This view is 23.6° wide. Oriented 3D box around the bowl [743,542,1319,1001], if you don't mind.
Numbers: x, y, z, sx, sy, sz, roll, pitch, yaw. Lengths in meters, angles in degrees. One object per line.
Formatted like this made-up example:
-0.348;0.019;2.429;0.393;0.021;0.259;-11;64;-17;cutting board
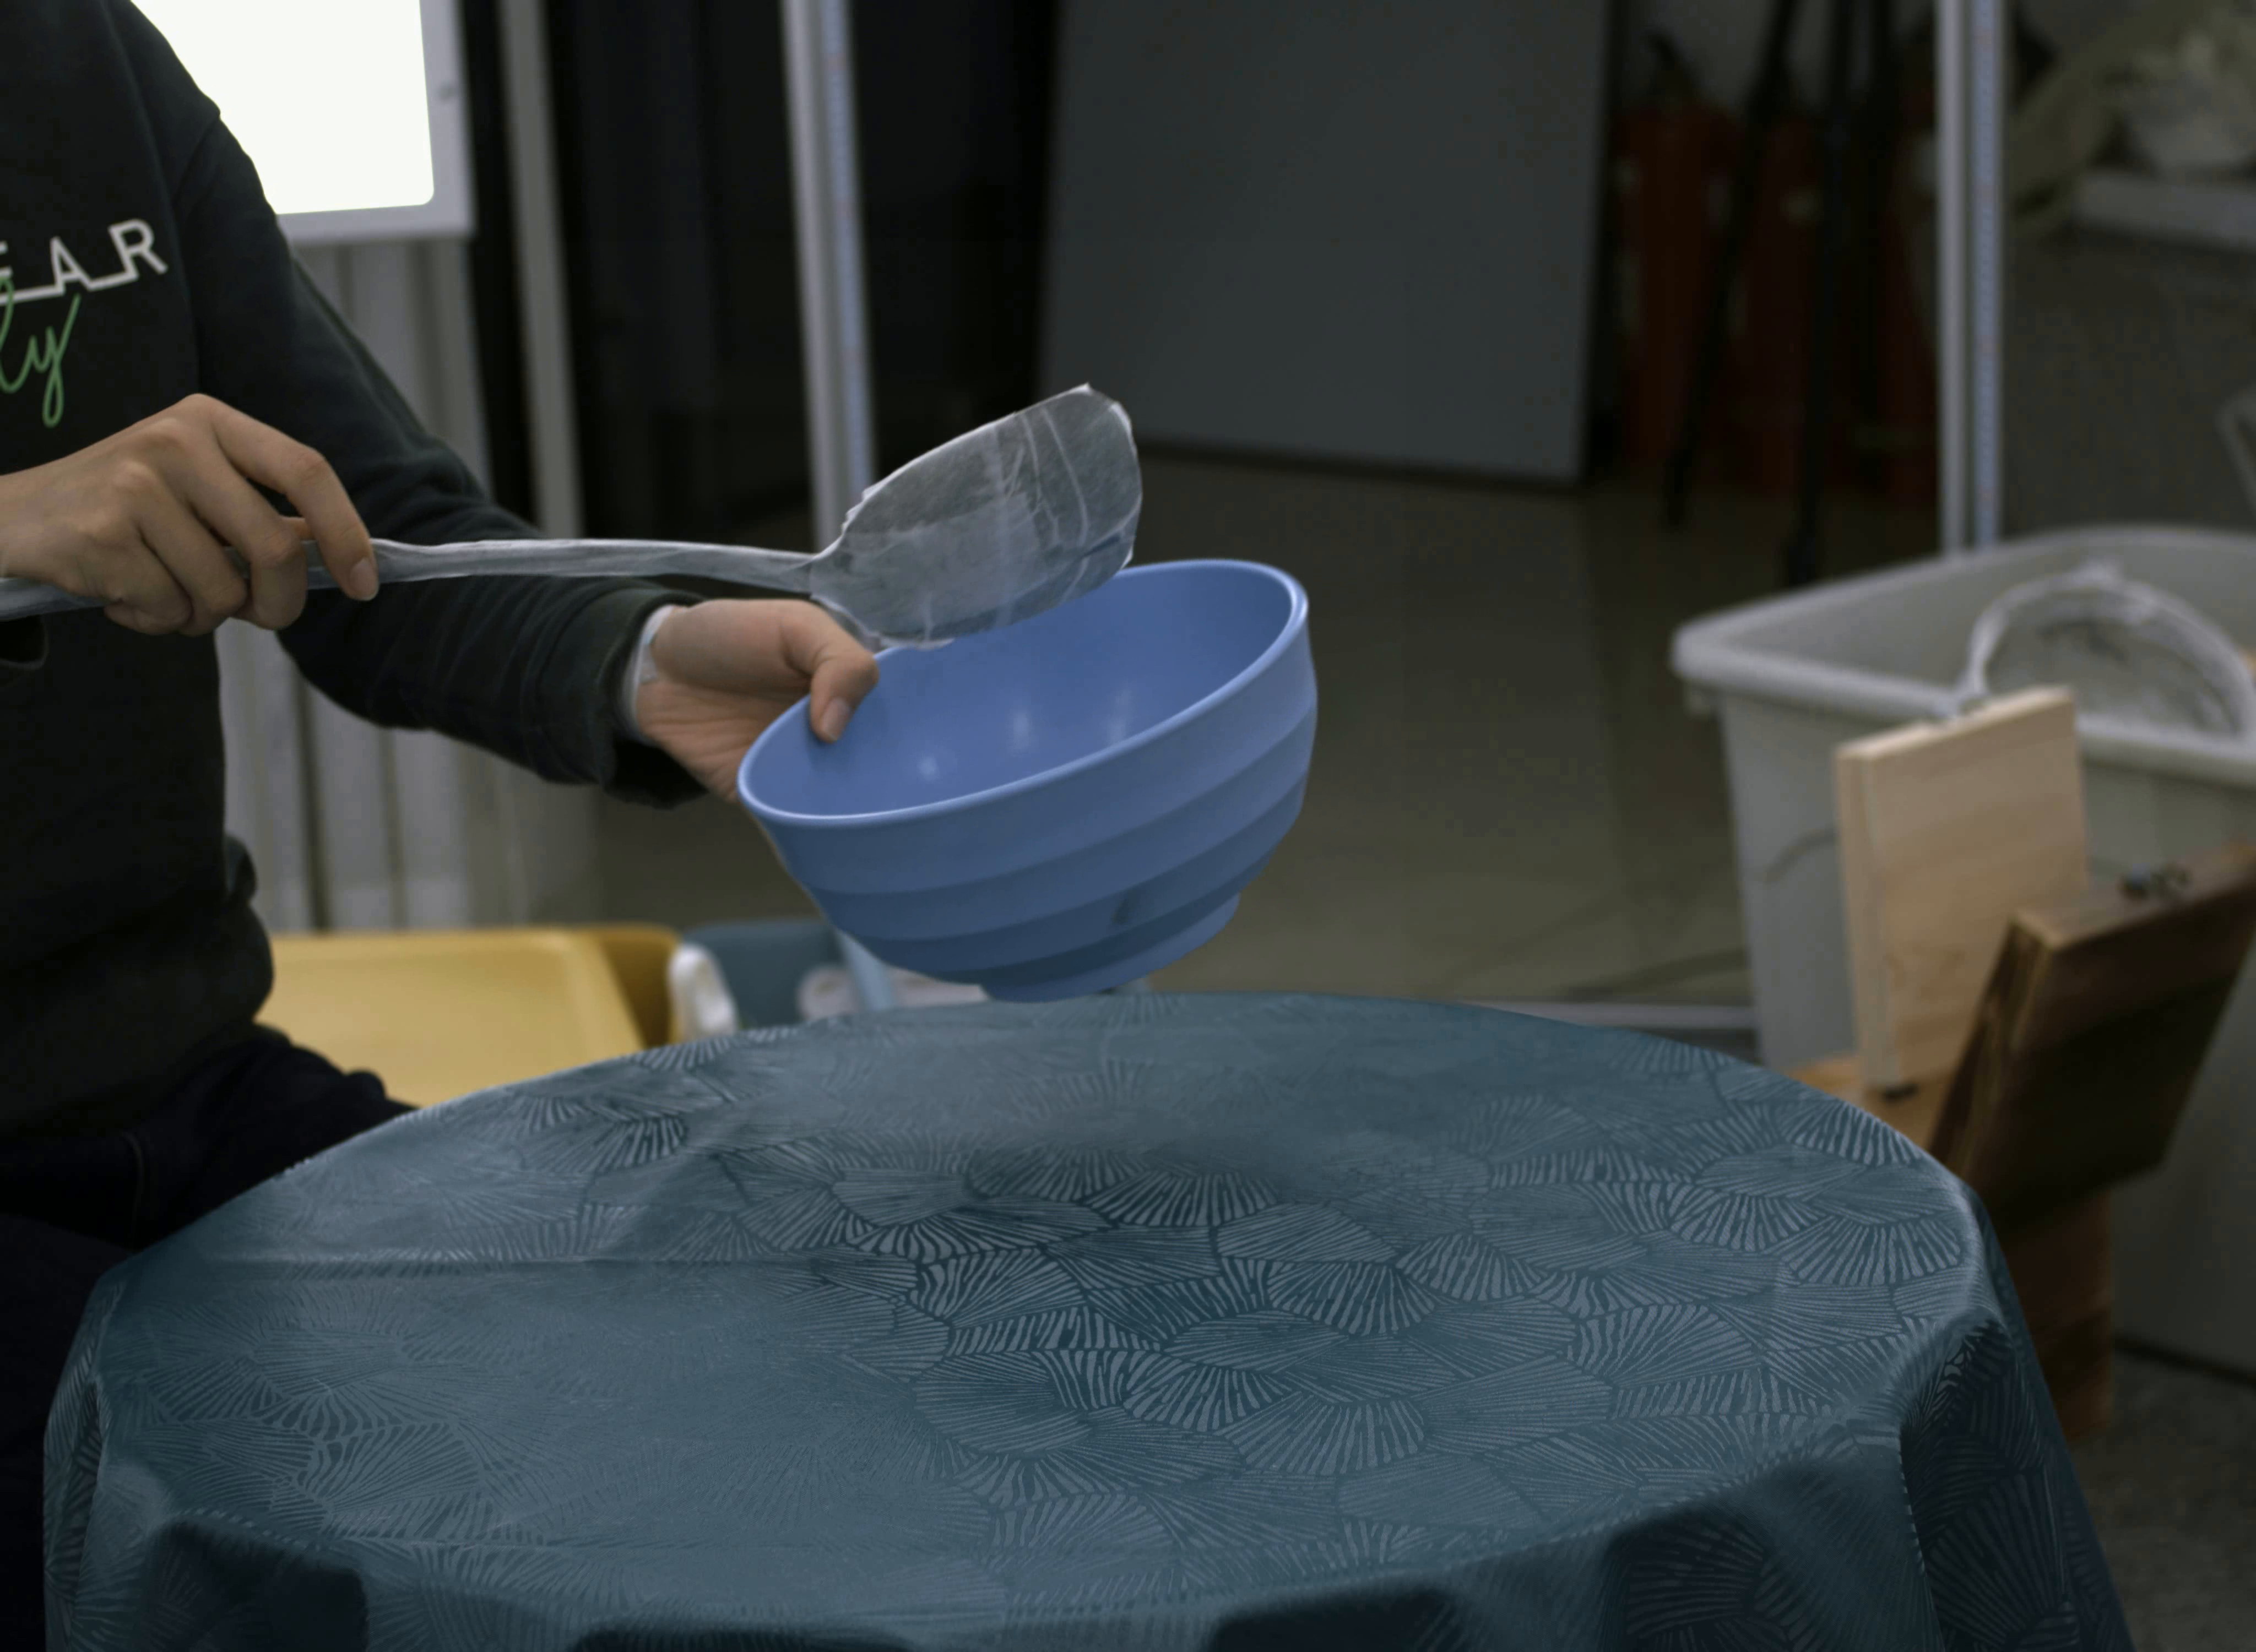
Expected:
-0.019;-0.007;1.760;0.195;0.096;0.197;-19;20;6;bowl

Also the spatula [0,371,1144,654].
-0.175;-0.086;1.681;0.361;0.099;0.045;-3;53;4;spatula
